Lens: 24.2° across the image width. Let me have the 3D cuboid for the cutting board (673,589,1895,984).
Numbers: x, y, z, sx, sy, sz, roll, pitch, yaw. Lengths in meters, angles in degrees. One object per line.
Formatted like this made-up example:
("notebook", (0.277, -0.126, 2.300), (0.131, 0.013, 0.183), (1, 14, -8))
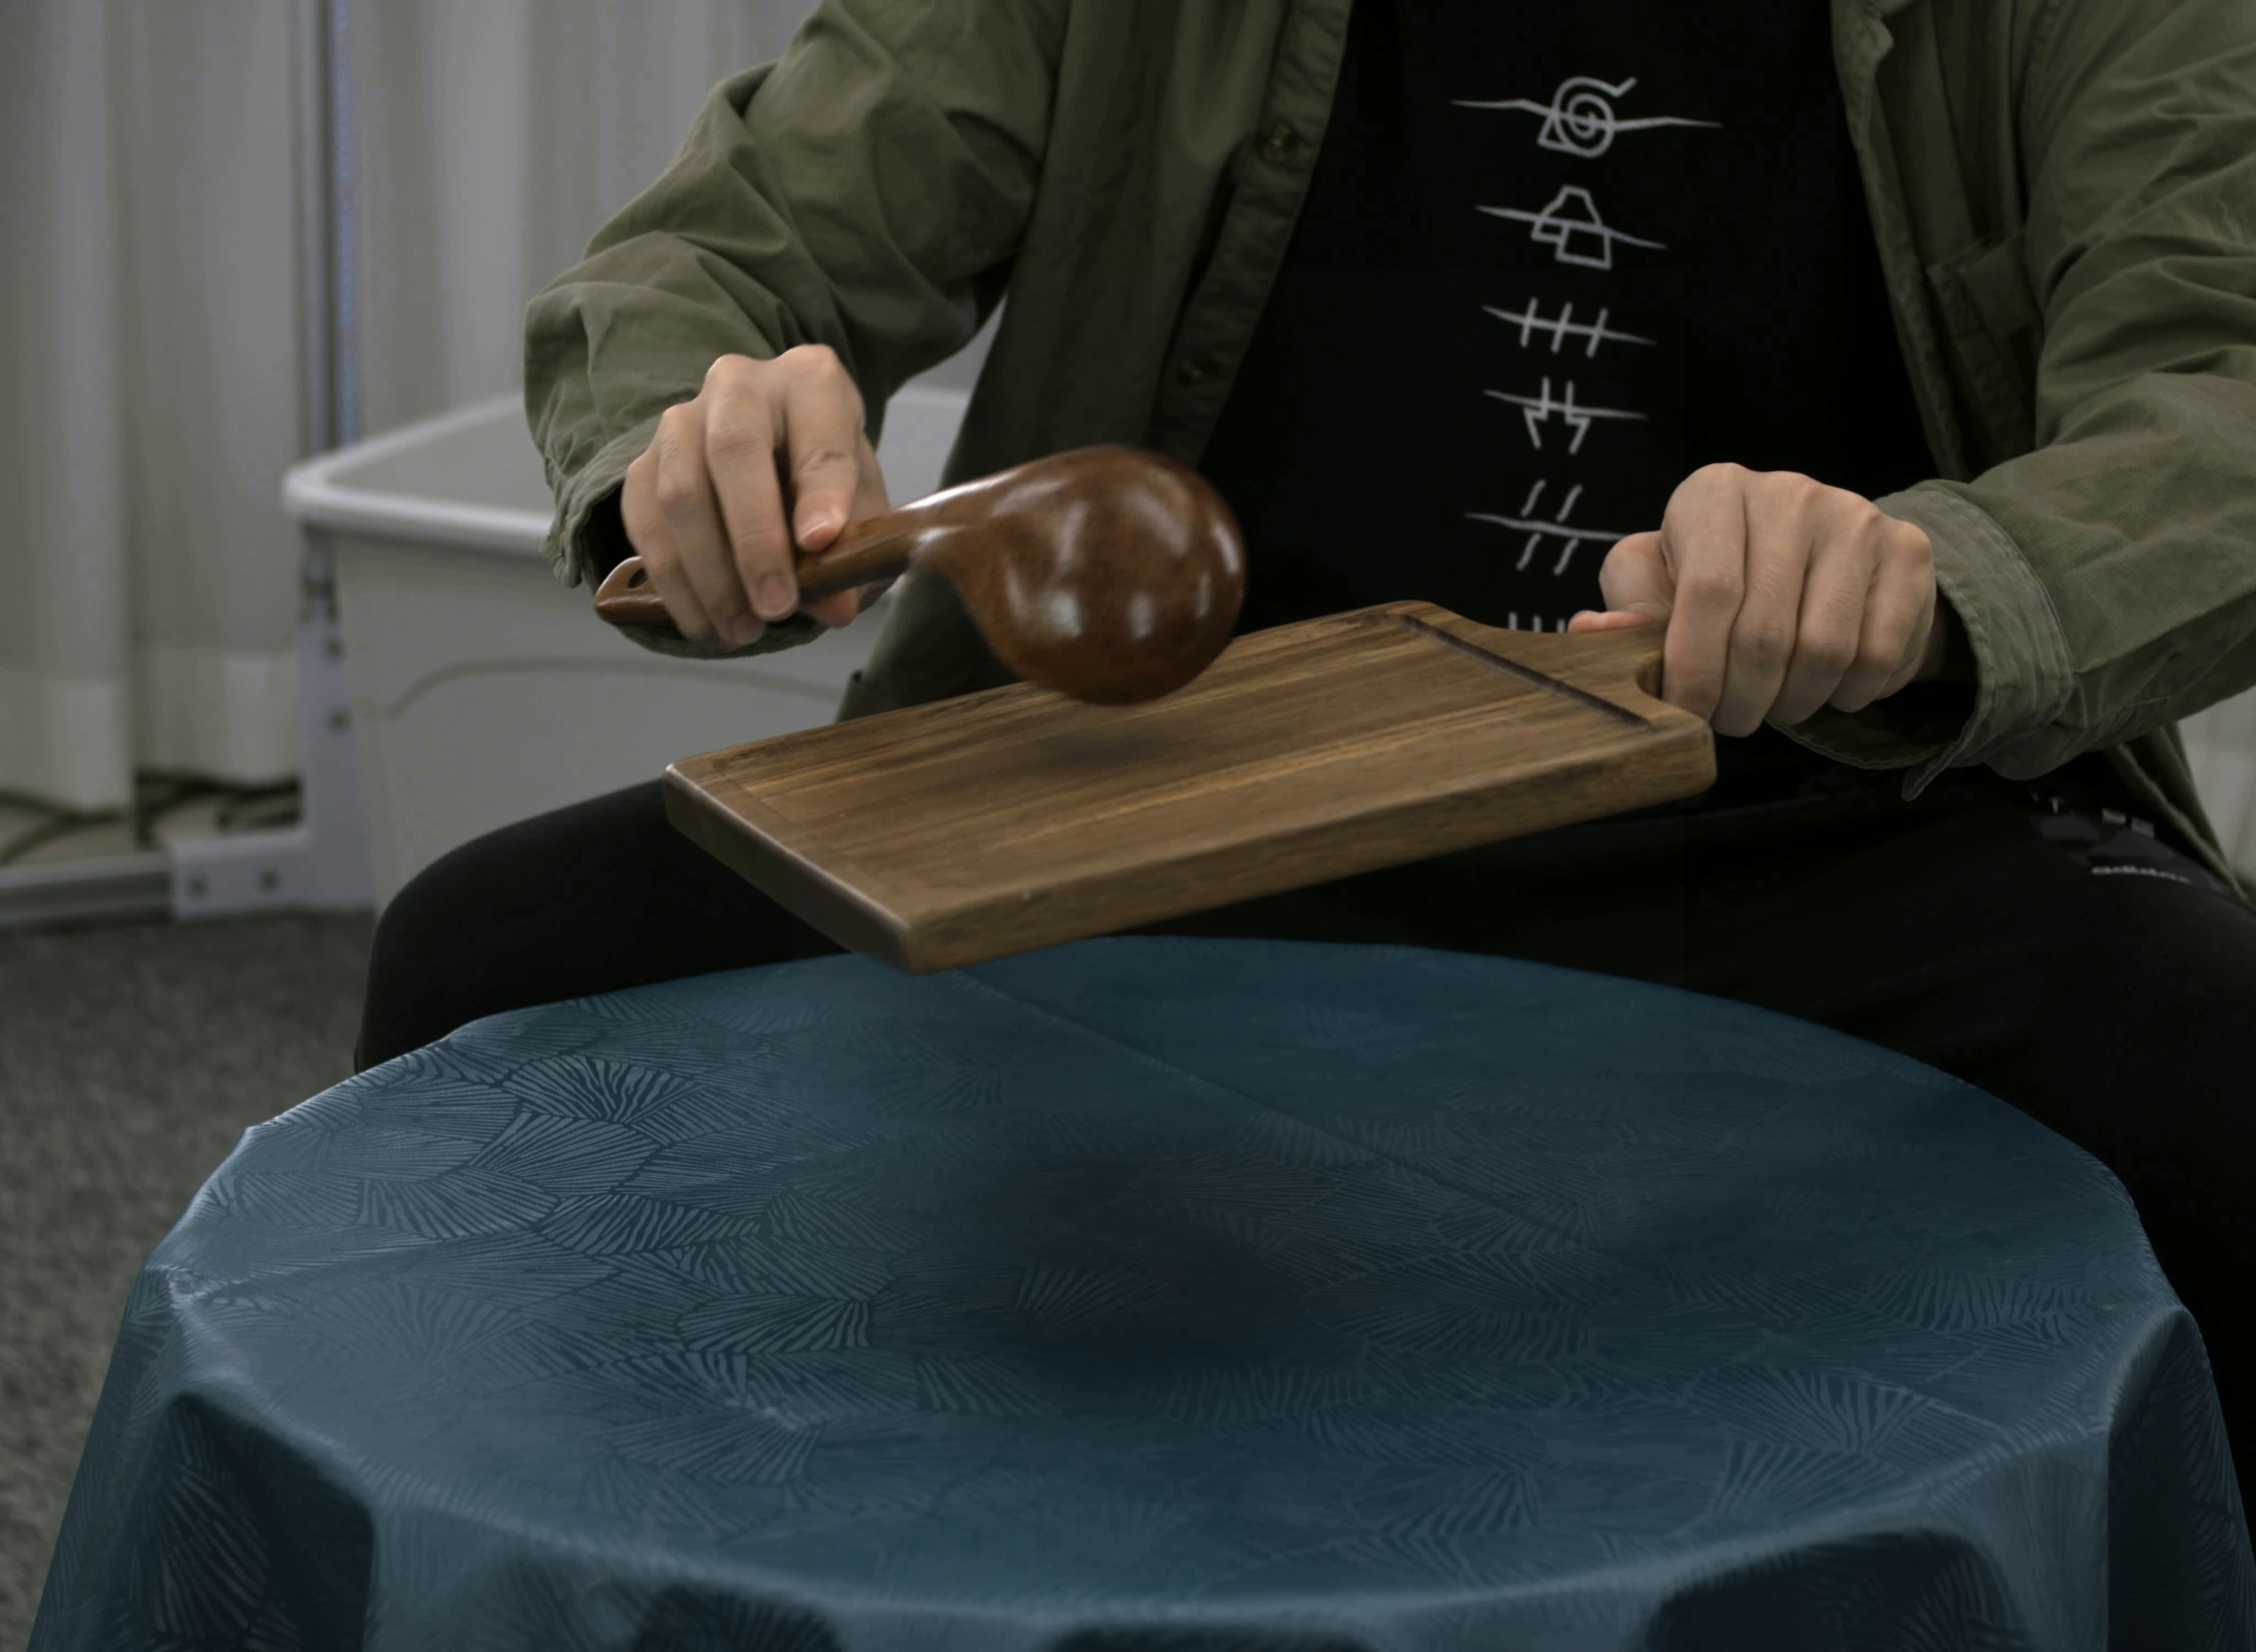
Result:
("cutting board", (0.063, -0.024, 1.502), (0.353, 0.023, 0.199), (-12, 18, -19))

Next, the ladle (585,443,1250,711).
("ladle", (-0.066, -0.067, 1.588), (0.271, 0.077, 0.082), (-7, 43, 54))
